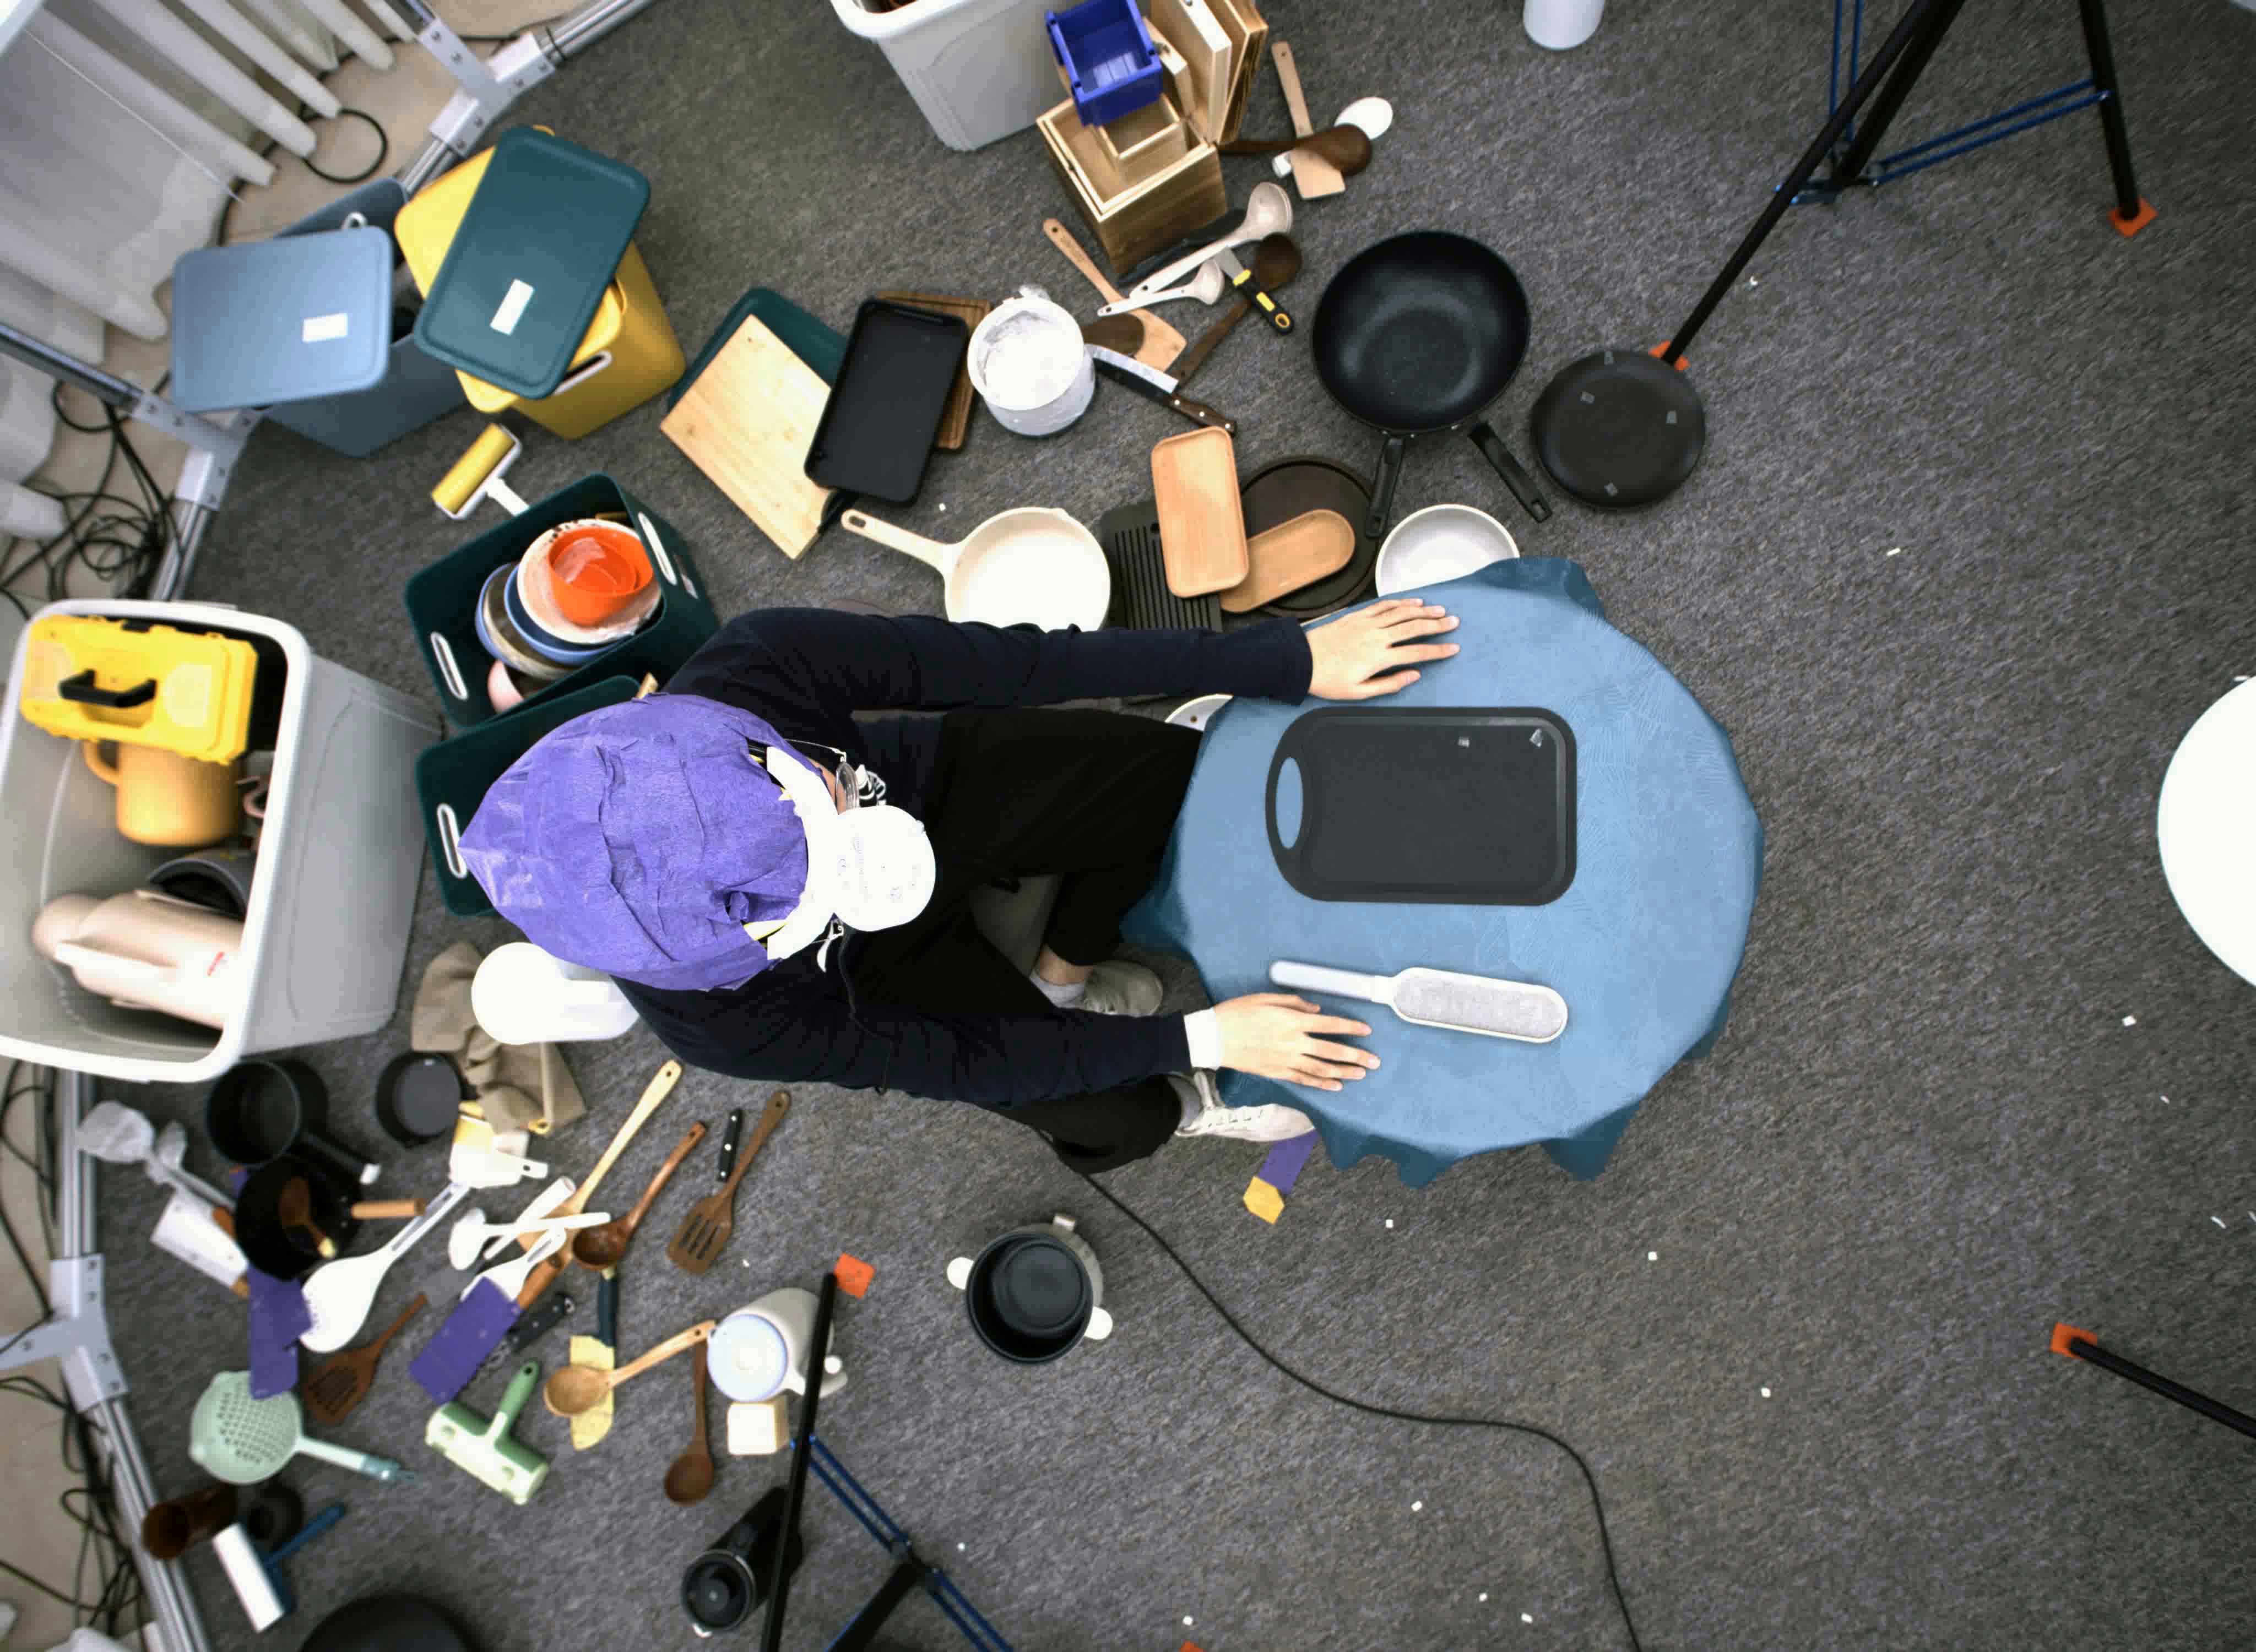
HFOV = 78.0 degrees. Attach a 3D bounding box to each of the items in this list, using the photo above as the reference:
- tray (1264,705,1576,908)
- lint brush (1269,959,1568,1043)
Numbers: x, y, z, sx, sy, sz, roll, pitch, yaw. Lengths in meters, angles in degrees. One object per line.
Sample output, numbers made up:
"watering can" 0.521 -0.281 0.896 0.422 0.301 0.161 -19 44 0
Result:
"tray" 0.306 -0.024 1.456 0.326 0.010 0.210 2 87 11
"lint brush" 0.299 0.172 1.435 0.309 0.021 0.060 8 93 11
